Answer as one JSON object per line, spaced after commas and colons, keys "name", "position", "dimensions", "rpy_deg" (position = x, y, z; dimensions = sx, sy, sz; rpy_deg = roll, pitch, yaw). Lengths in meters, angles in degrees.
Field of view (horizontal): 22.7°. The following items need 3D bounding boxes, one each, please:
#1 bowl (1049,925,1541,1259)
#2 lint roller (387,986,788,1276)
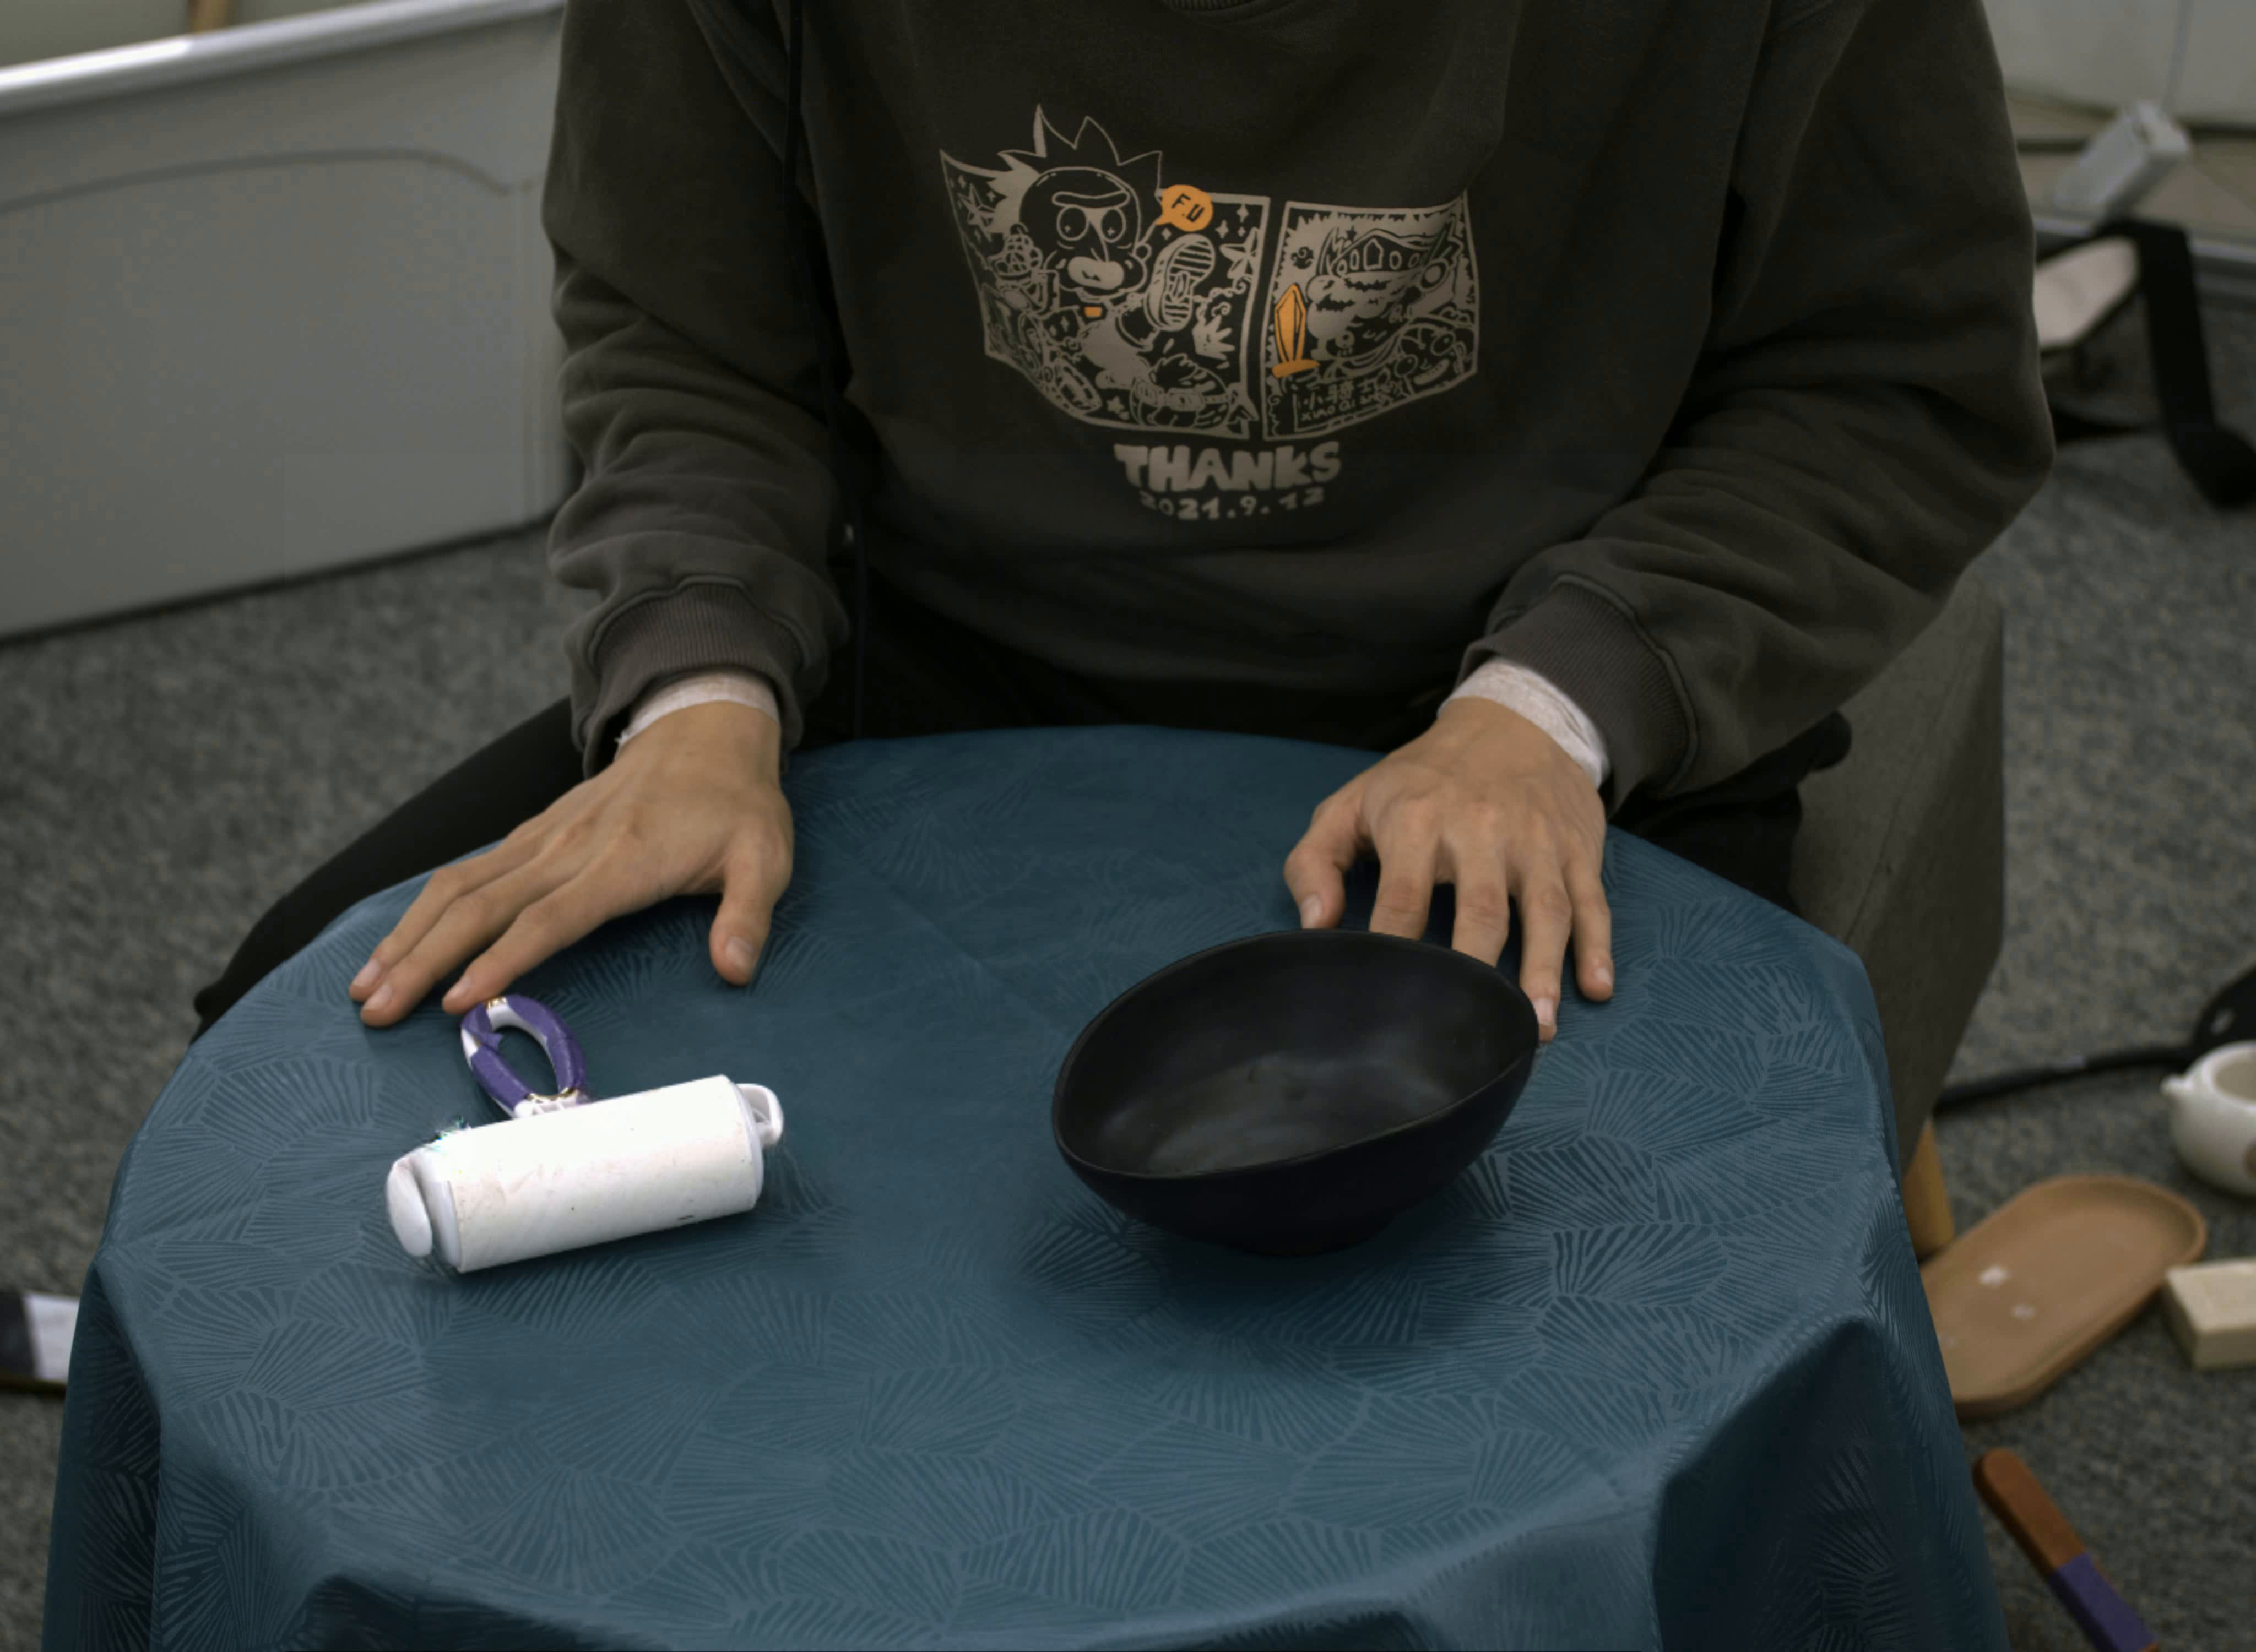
{"name": "bowl", "position": [0.057, 0.097, 1.835], "dimensions": [0.171, 0.066, 0.137], "rpy_deg": [-21, 31, -27]}
{"name": "lint roller", "position": [-0.194, 0.085, 1.898], "dimensions": [0.133, 0.049, 0.183], "rpy_deg": [-11, 31, -13]}
